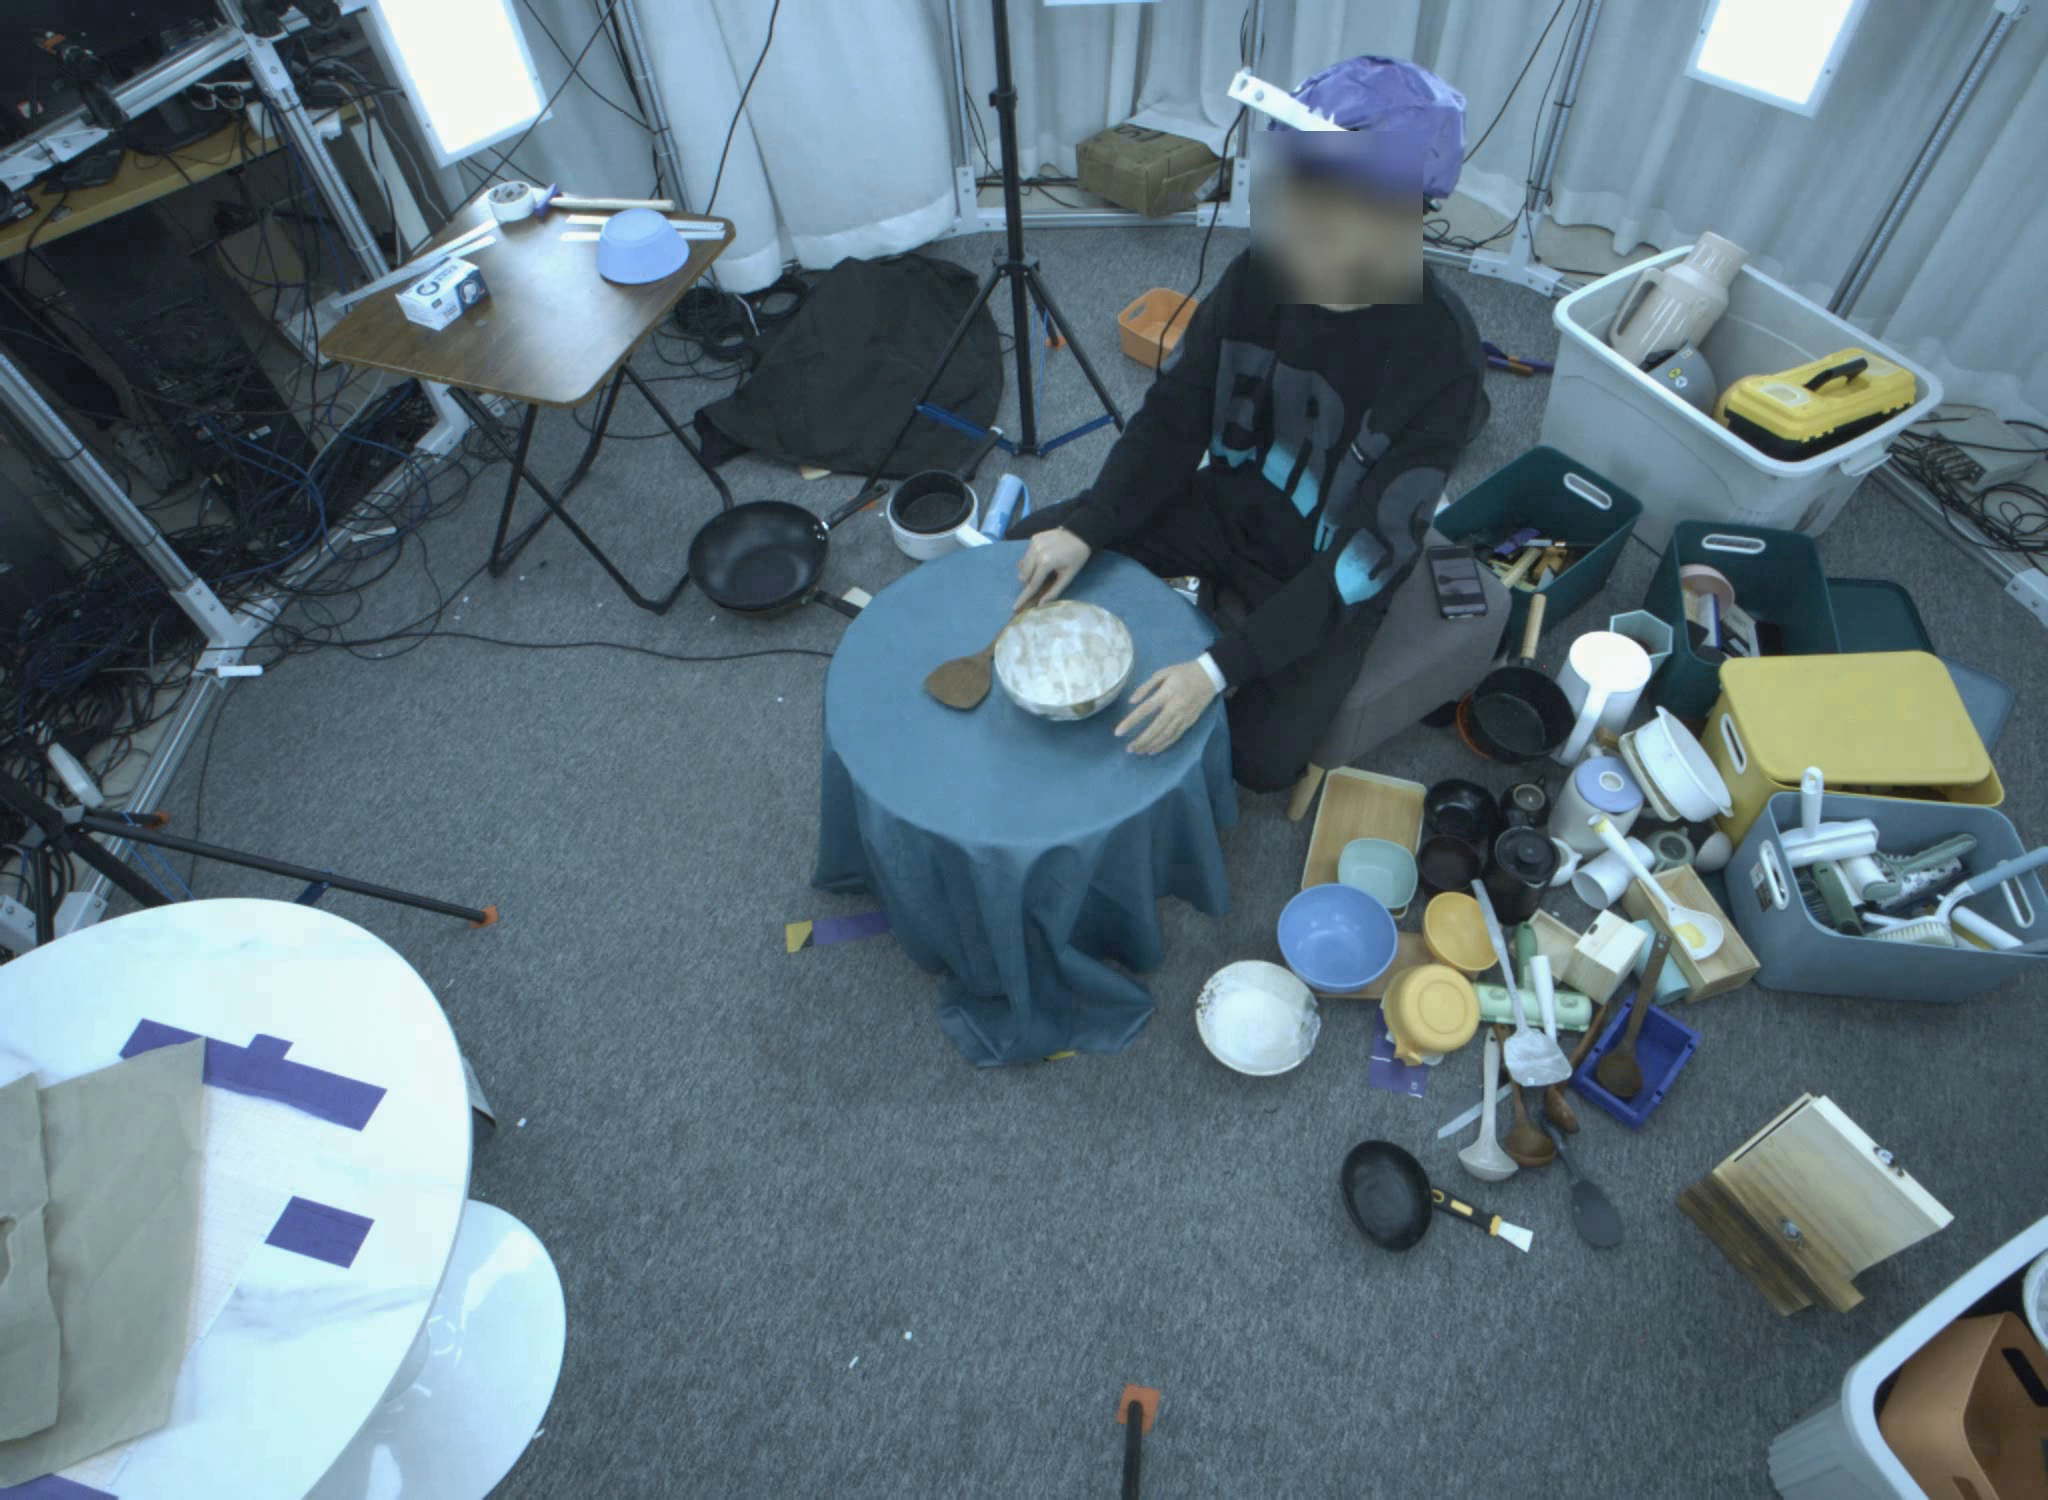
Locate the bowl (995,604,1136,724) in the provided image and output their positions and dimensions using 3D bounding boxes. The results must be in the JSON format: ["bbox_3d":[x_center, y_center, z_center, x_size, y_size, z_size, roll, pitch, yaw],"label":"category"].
[{"bbox_3d":[0.066,-0.112,1.817,0.214,0.095,0.212,-1,53,2],"label":"bowl"}]

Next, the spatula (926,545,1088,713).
[{"bbox_3d":[-0.011,-0.201,1.926,0.094,0.016,0.387,29,63,19],"label":"spatula"}]
